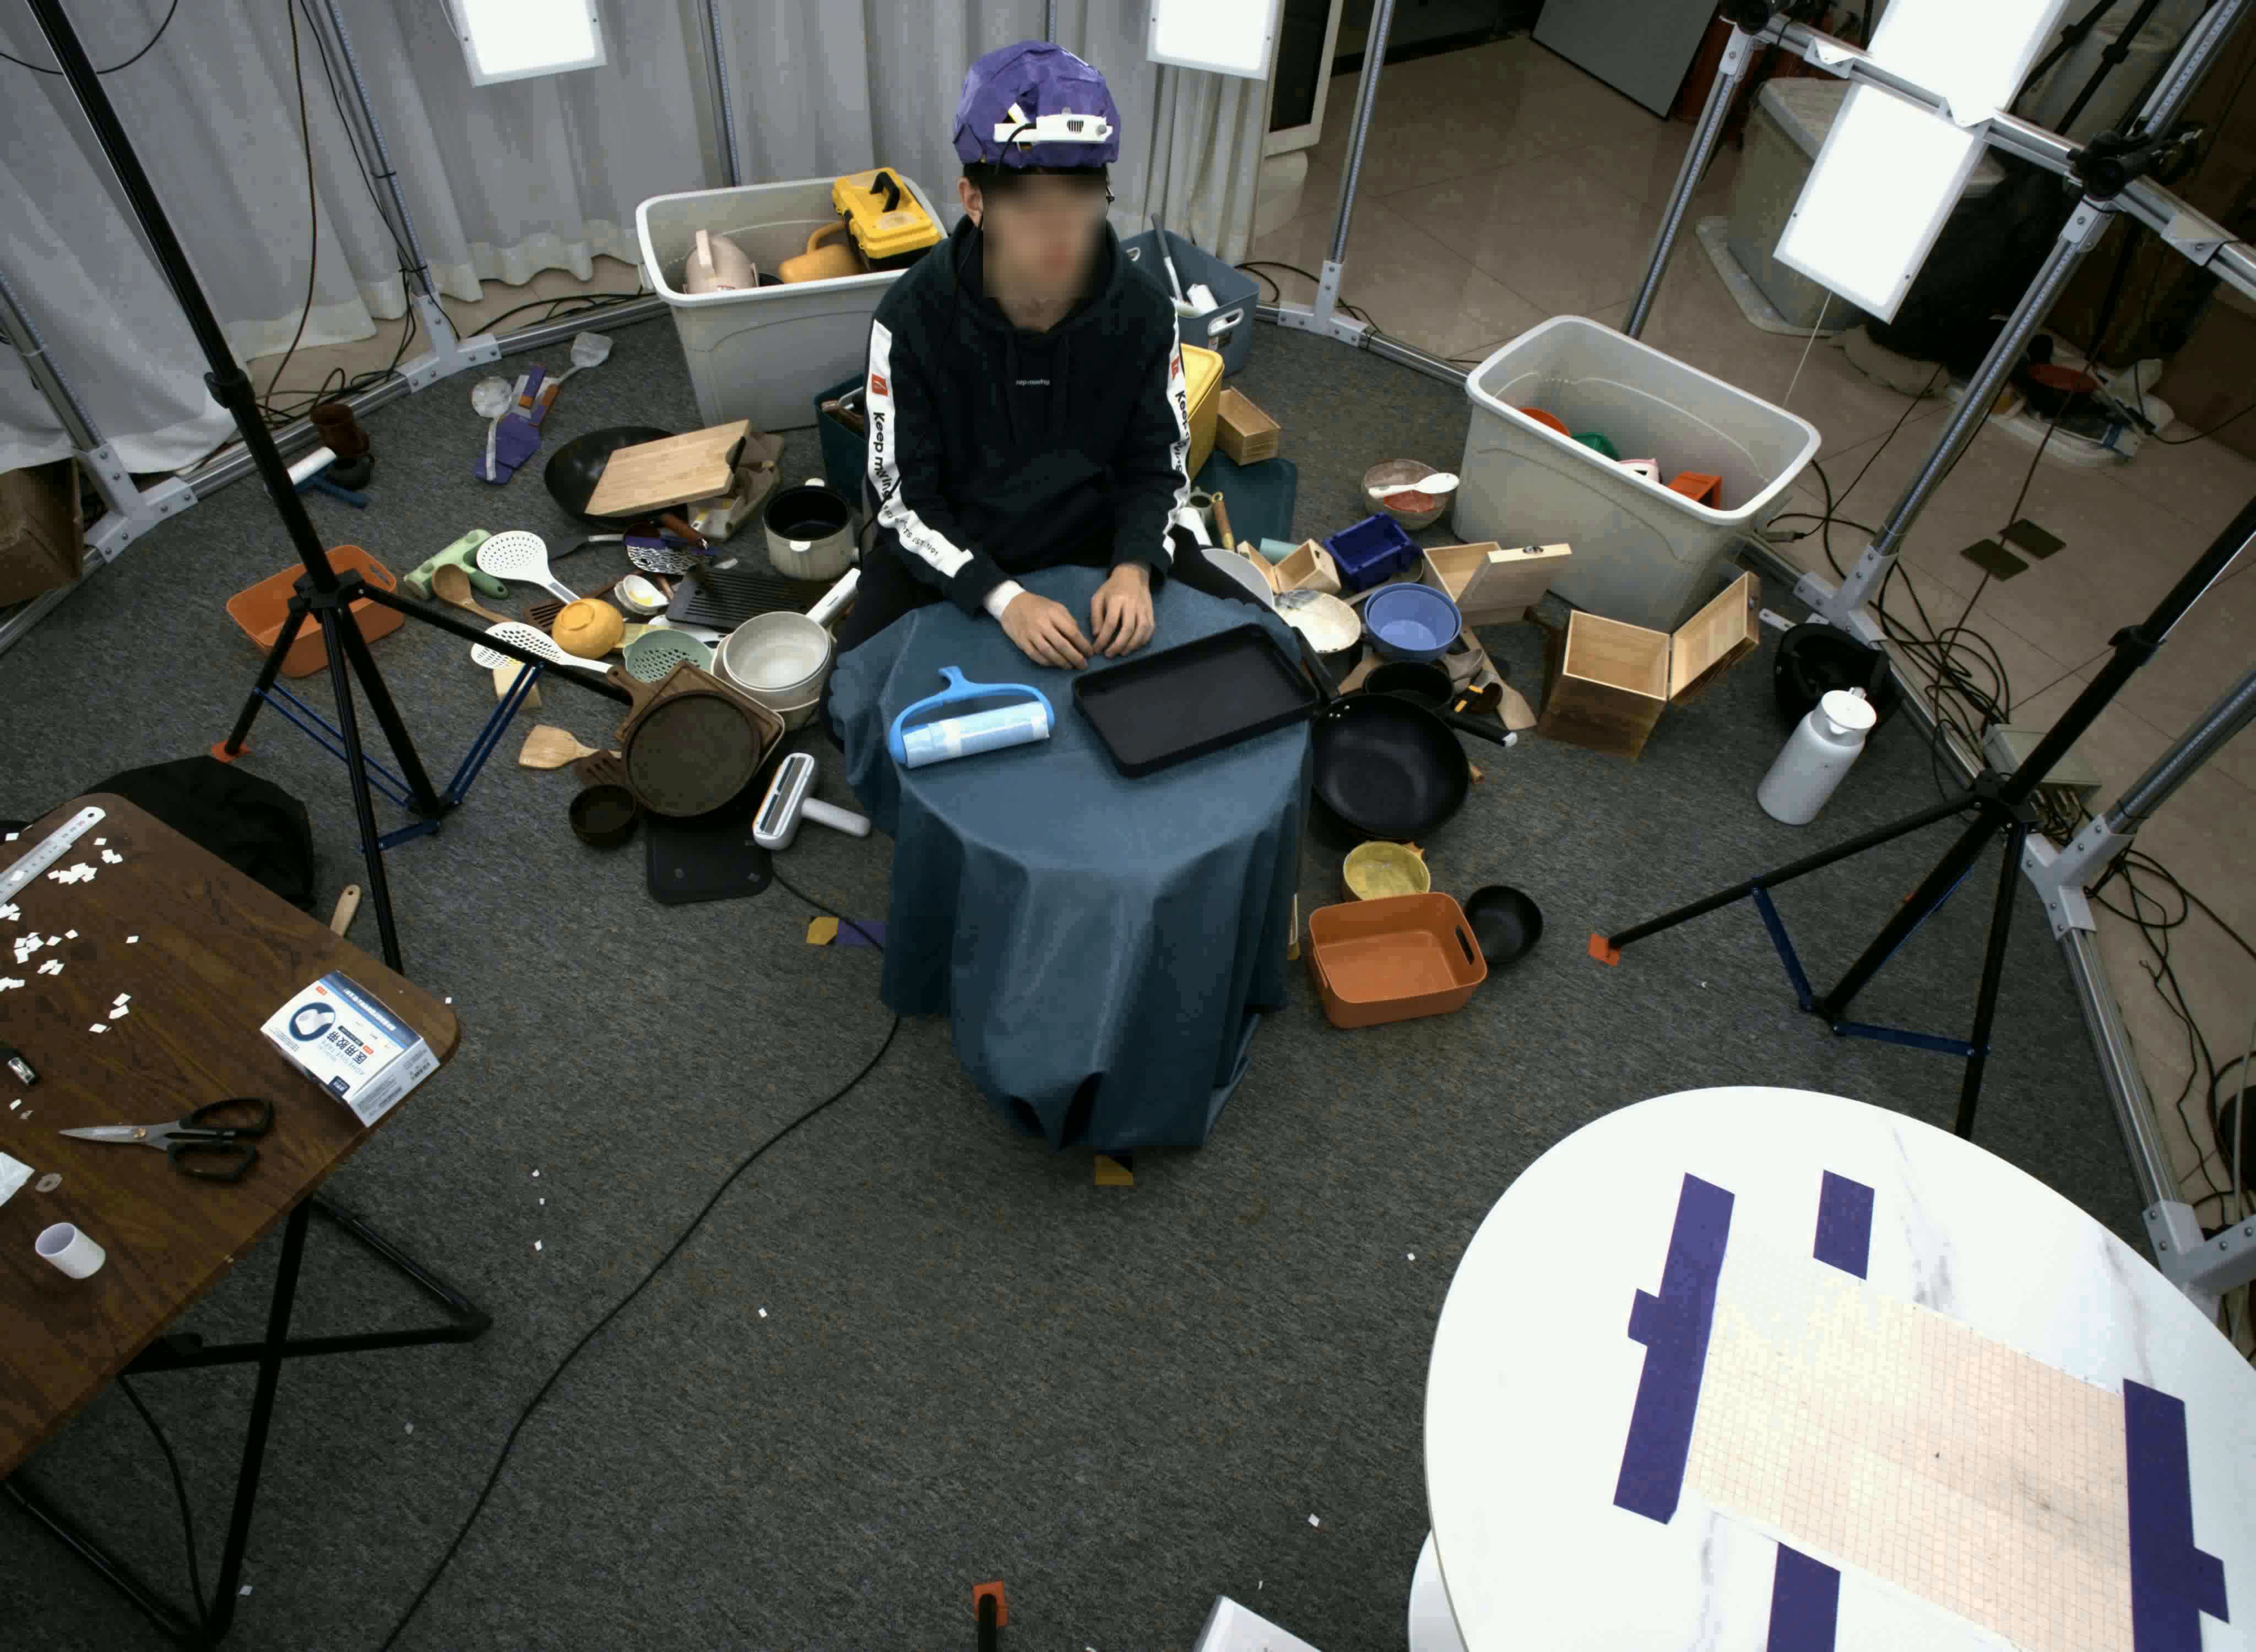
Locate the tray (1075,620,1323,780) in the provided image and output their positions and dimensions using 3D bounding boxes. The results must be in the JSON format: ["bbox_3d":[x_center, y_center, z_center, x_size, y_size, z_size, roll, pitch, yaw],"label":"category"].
[{"bbox_3d":[0.100,-0.182,1.810,0.319,0.036,0.188,-21,53,-19],"label":"tray"}]

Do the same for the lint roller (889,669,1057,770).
[{"bbox_3d":[-0.228,-0.168,1.763,0.229,0.066,0.184,-17,54,-15],"label":"lint roller"}]
